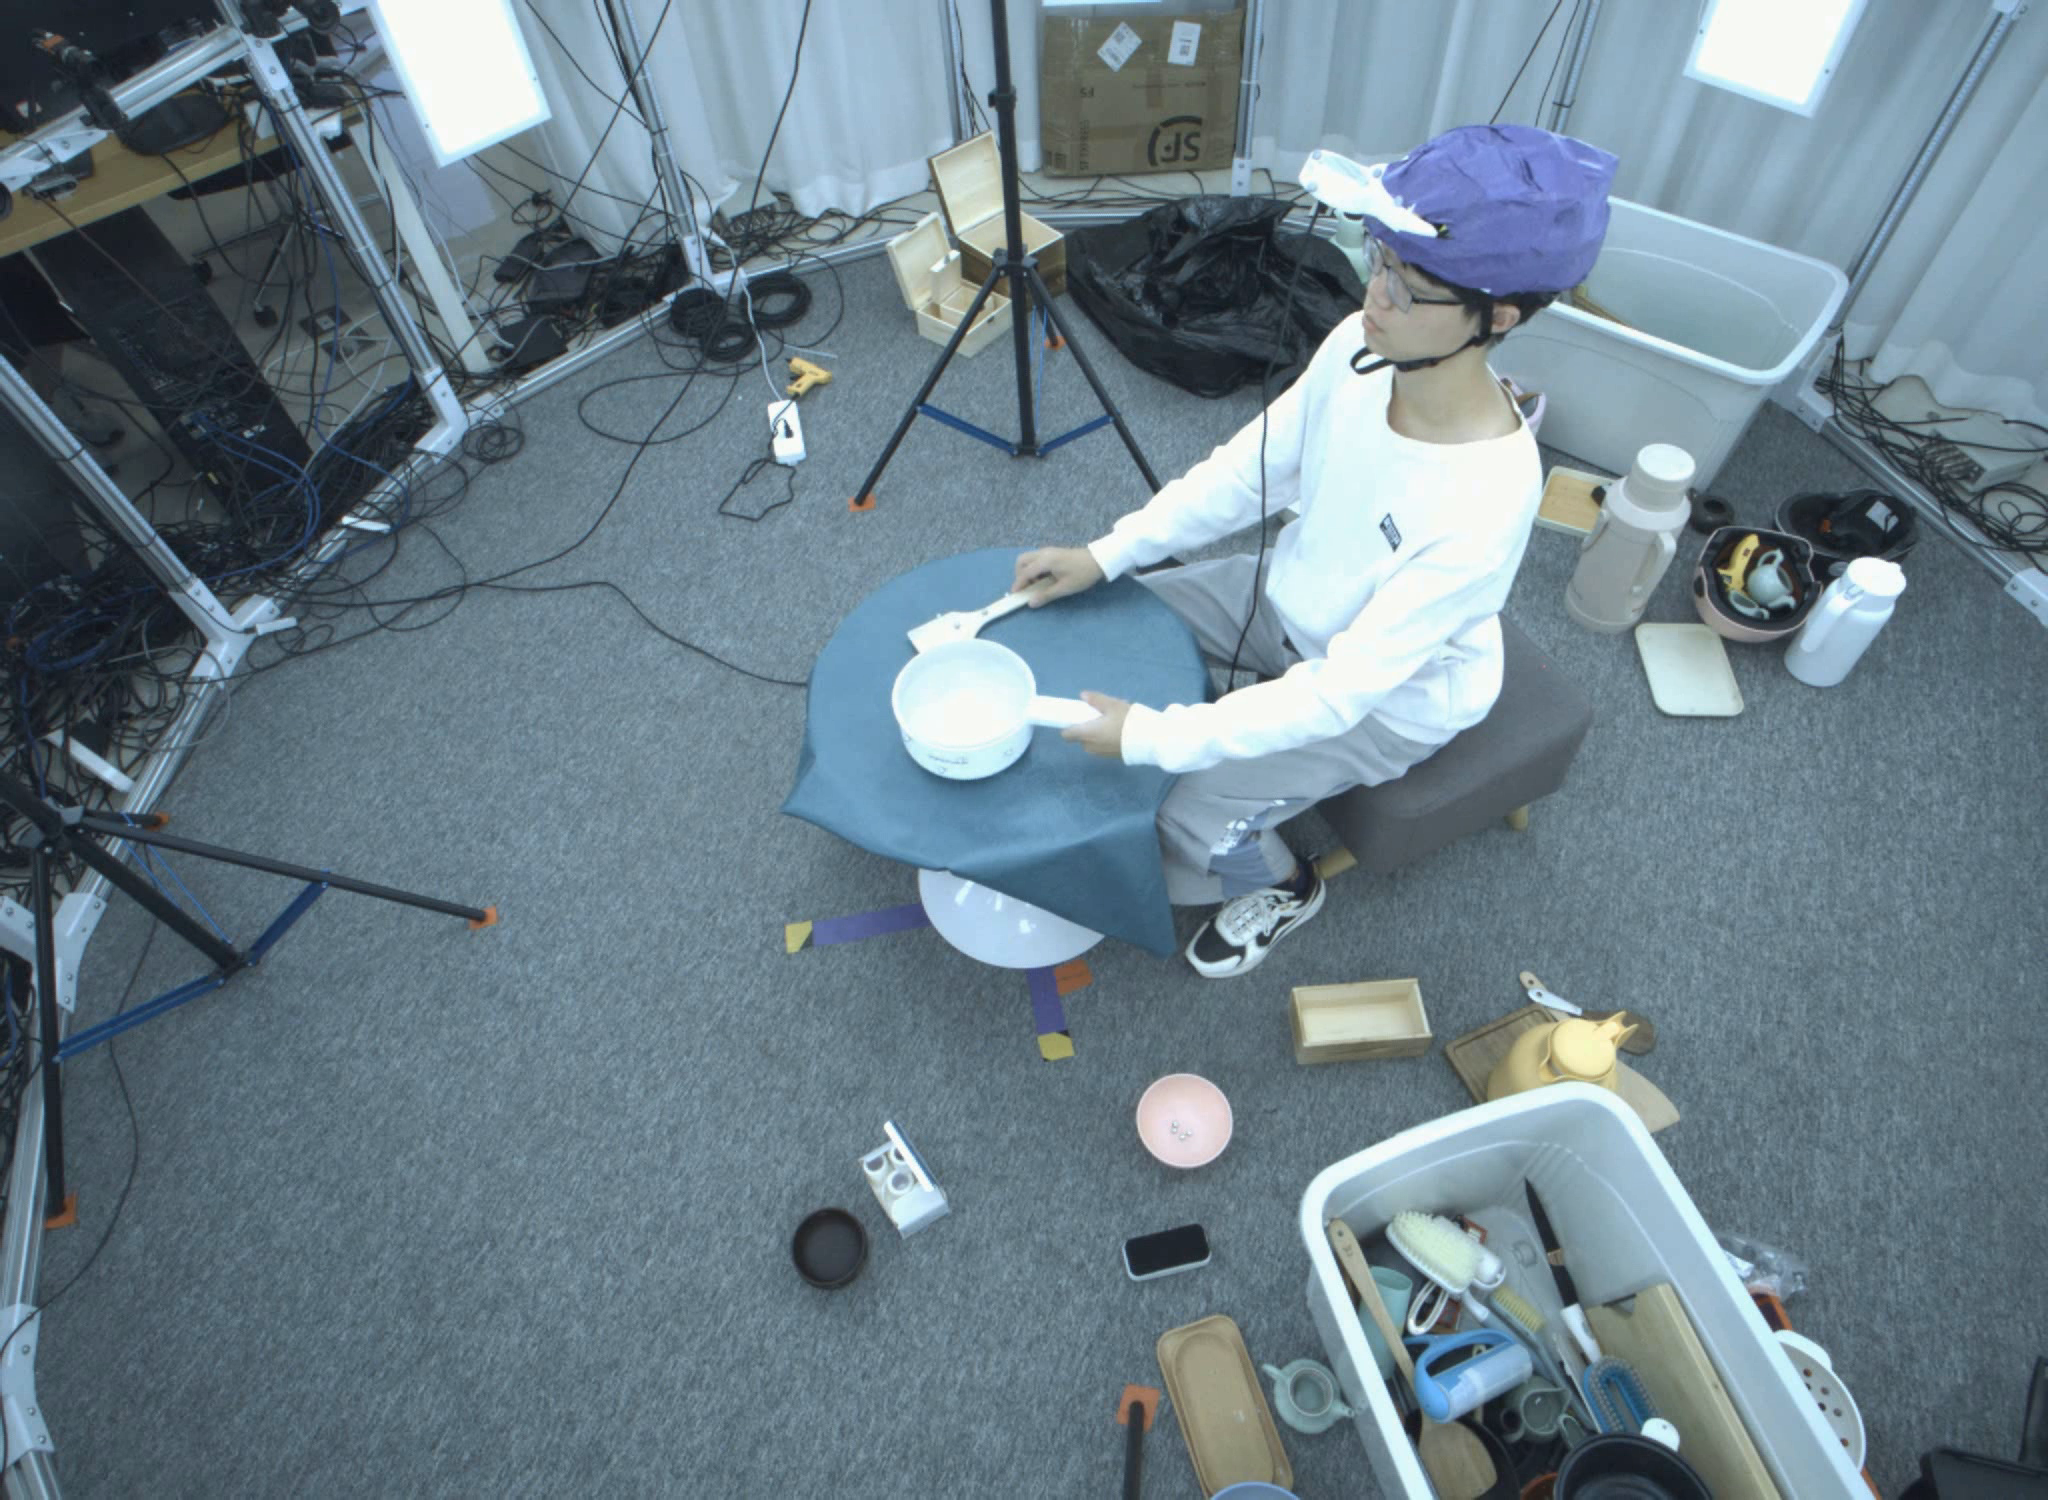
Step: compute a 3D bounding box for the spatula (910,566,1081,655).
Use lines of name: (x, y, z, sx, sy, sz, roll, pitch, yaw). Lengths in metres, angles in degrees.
spatula: (-0.038, -0.224, 1.932, 0.295, 0.011, 0.071, -28, 60, -16)

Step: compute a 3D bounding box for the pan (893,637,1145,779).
pan: (-0.007, -0.044, 1.749, 0.353, 0.103, 0.200, 8, 55, 6)
